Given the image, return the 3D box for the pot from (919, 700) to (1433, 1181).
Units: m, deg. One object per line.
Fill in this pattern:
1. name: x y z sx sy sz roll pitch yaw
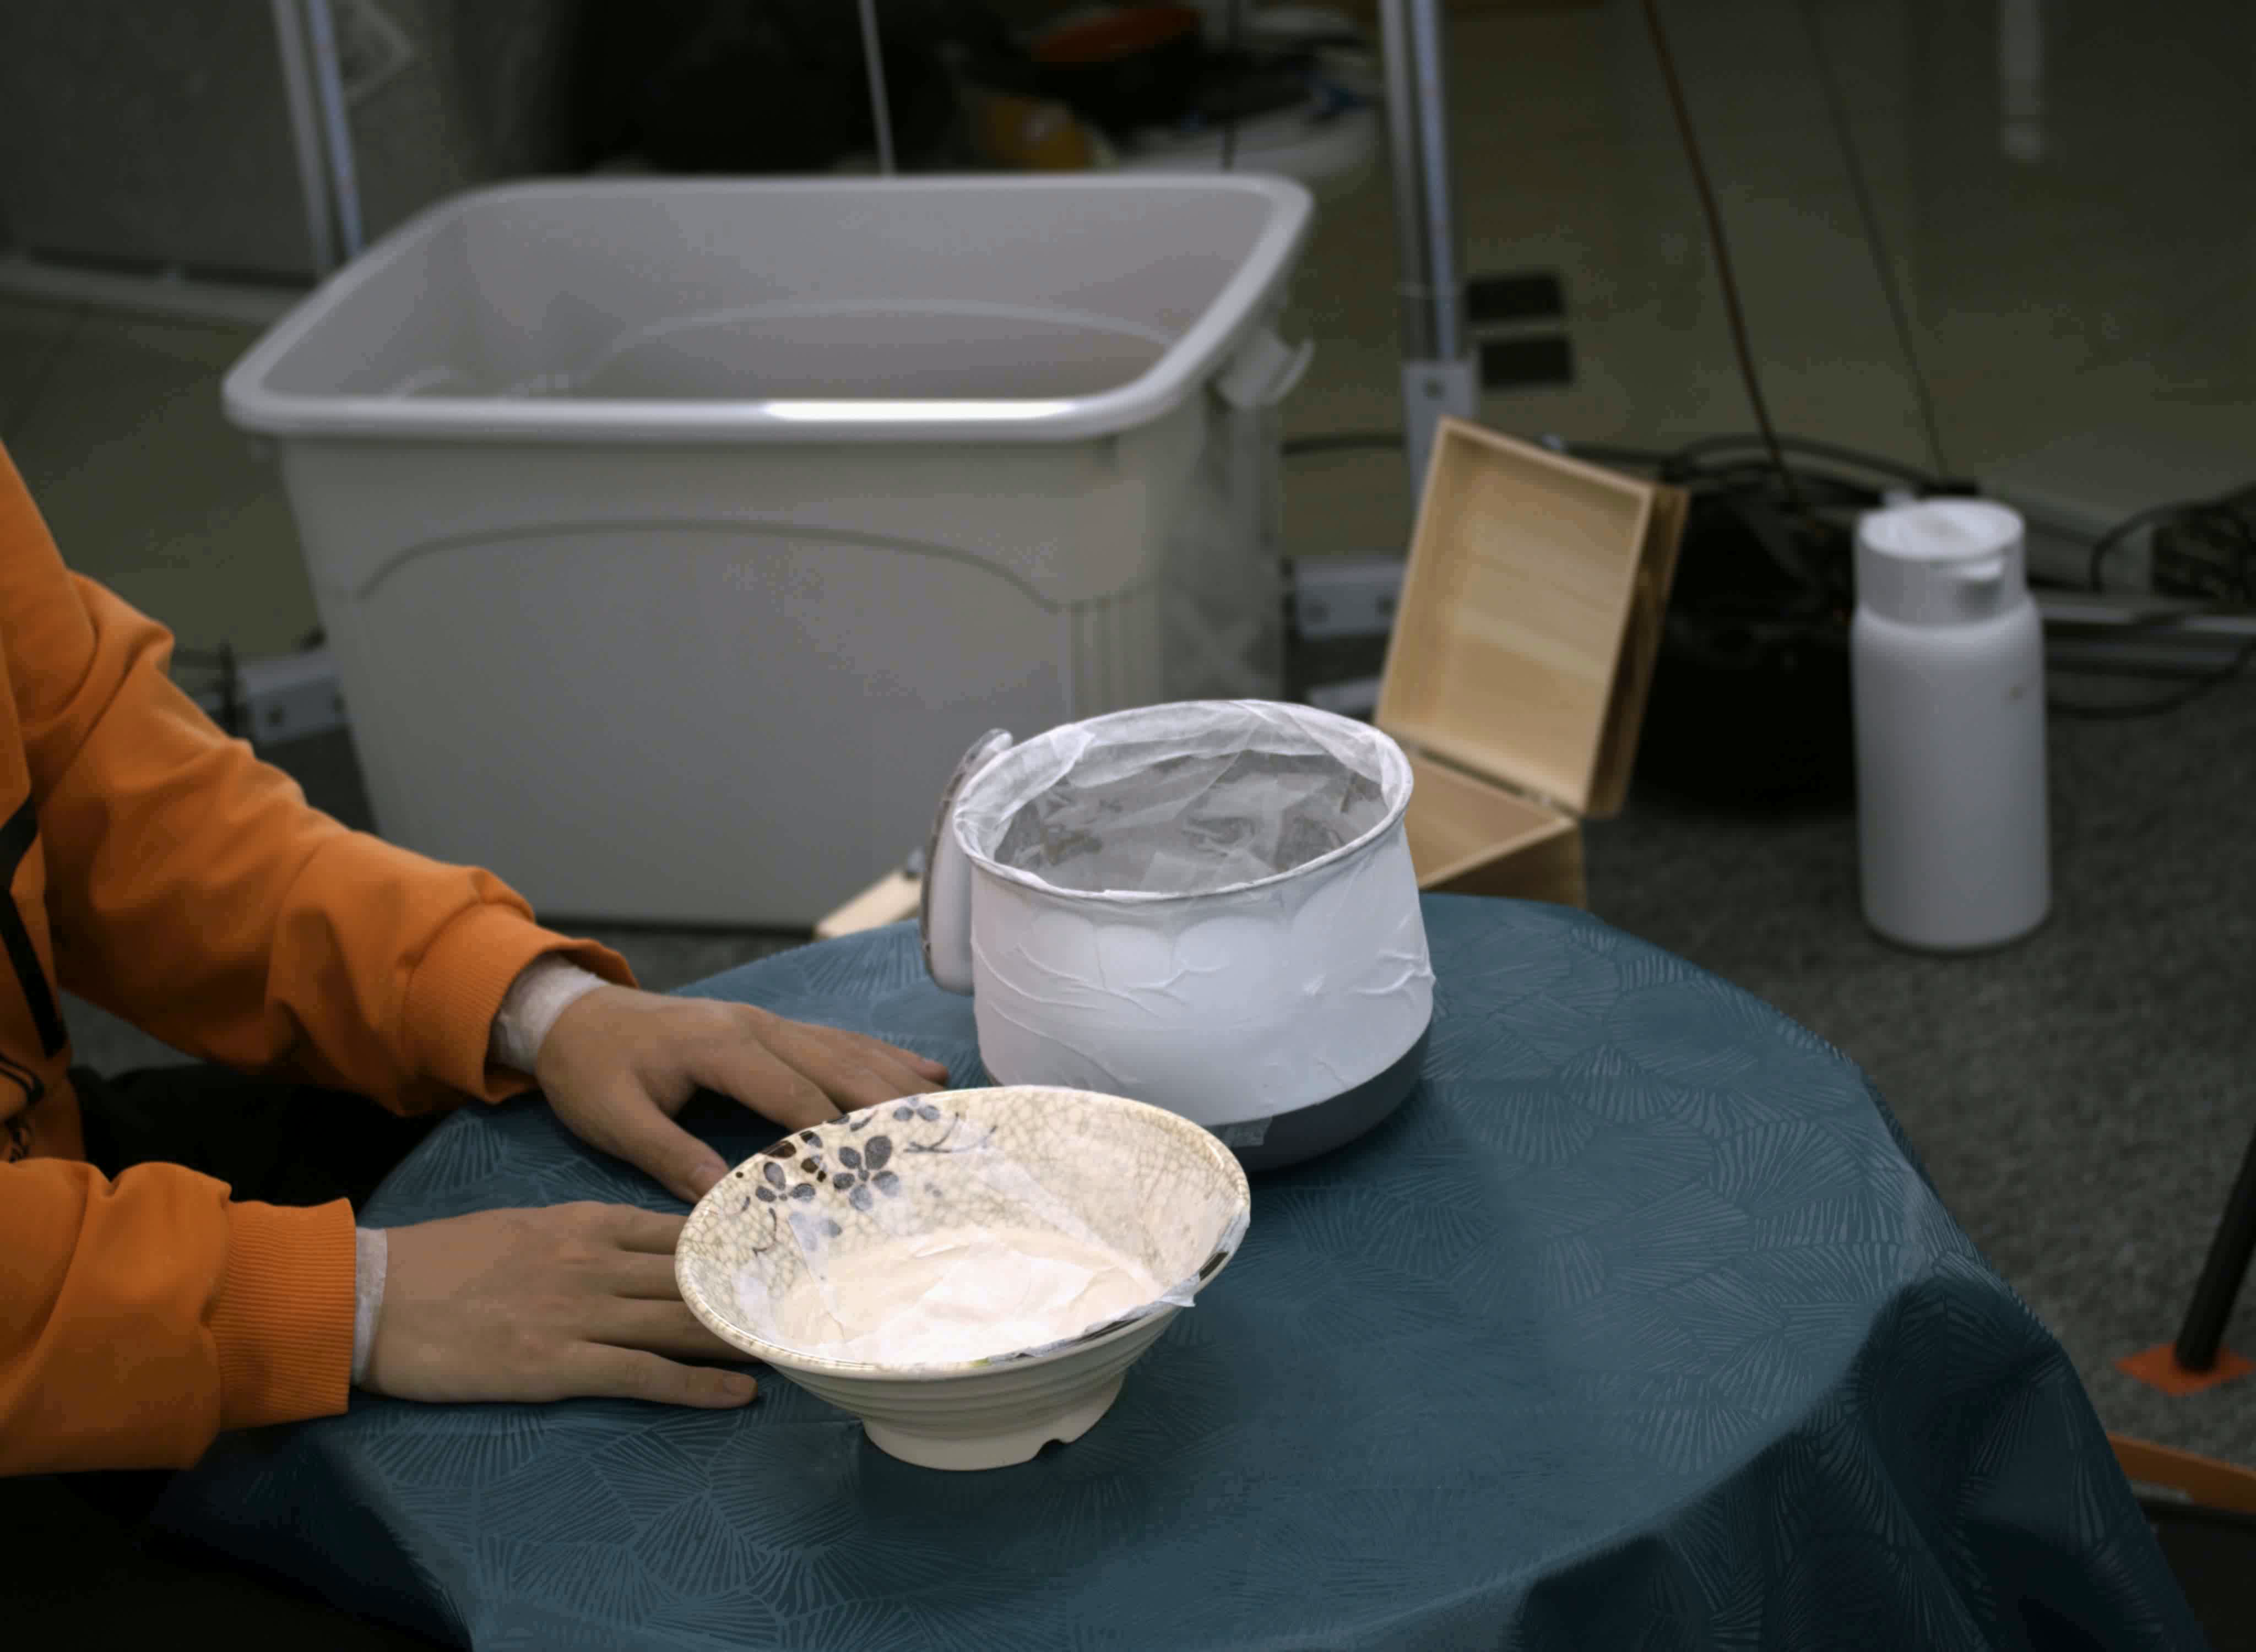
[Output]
1. pot: 0.006 0.040 2.193 0.232 0.139 0.177 16 33 39

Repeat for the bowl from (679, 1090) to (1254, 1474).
1. bowl: -0.052 0.172 1.998 0.204 0.079 0.201 -7 25 3
